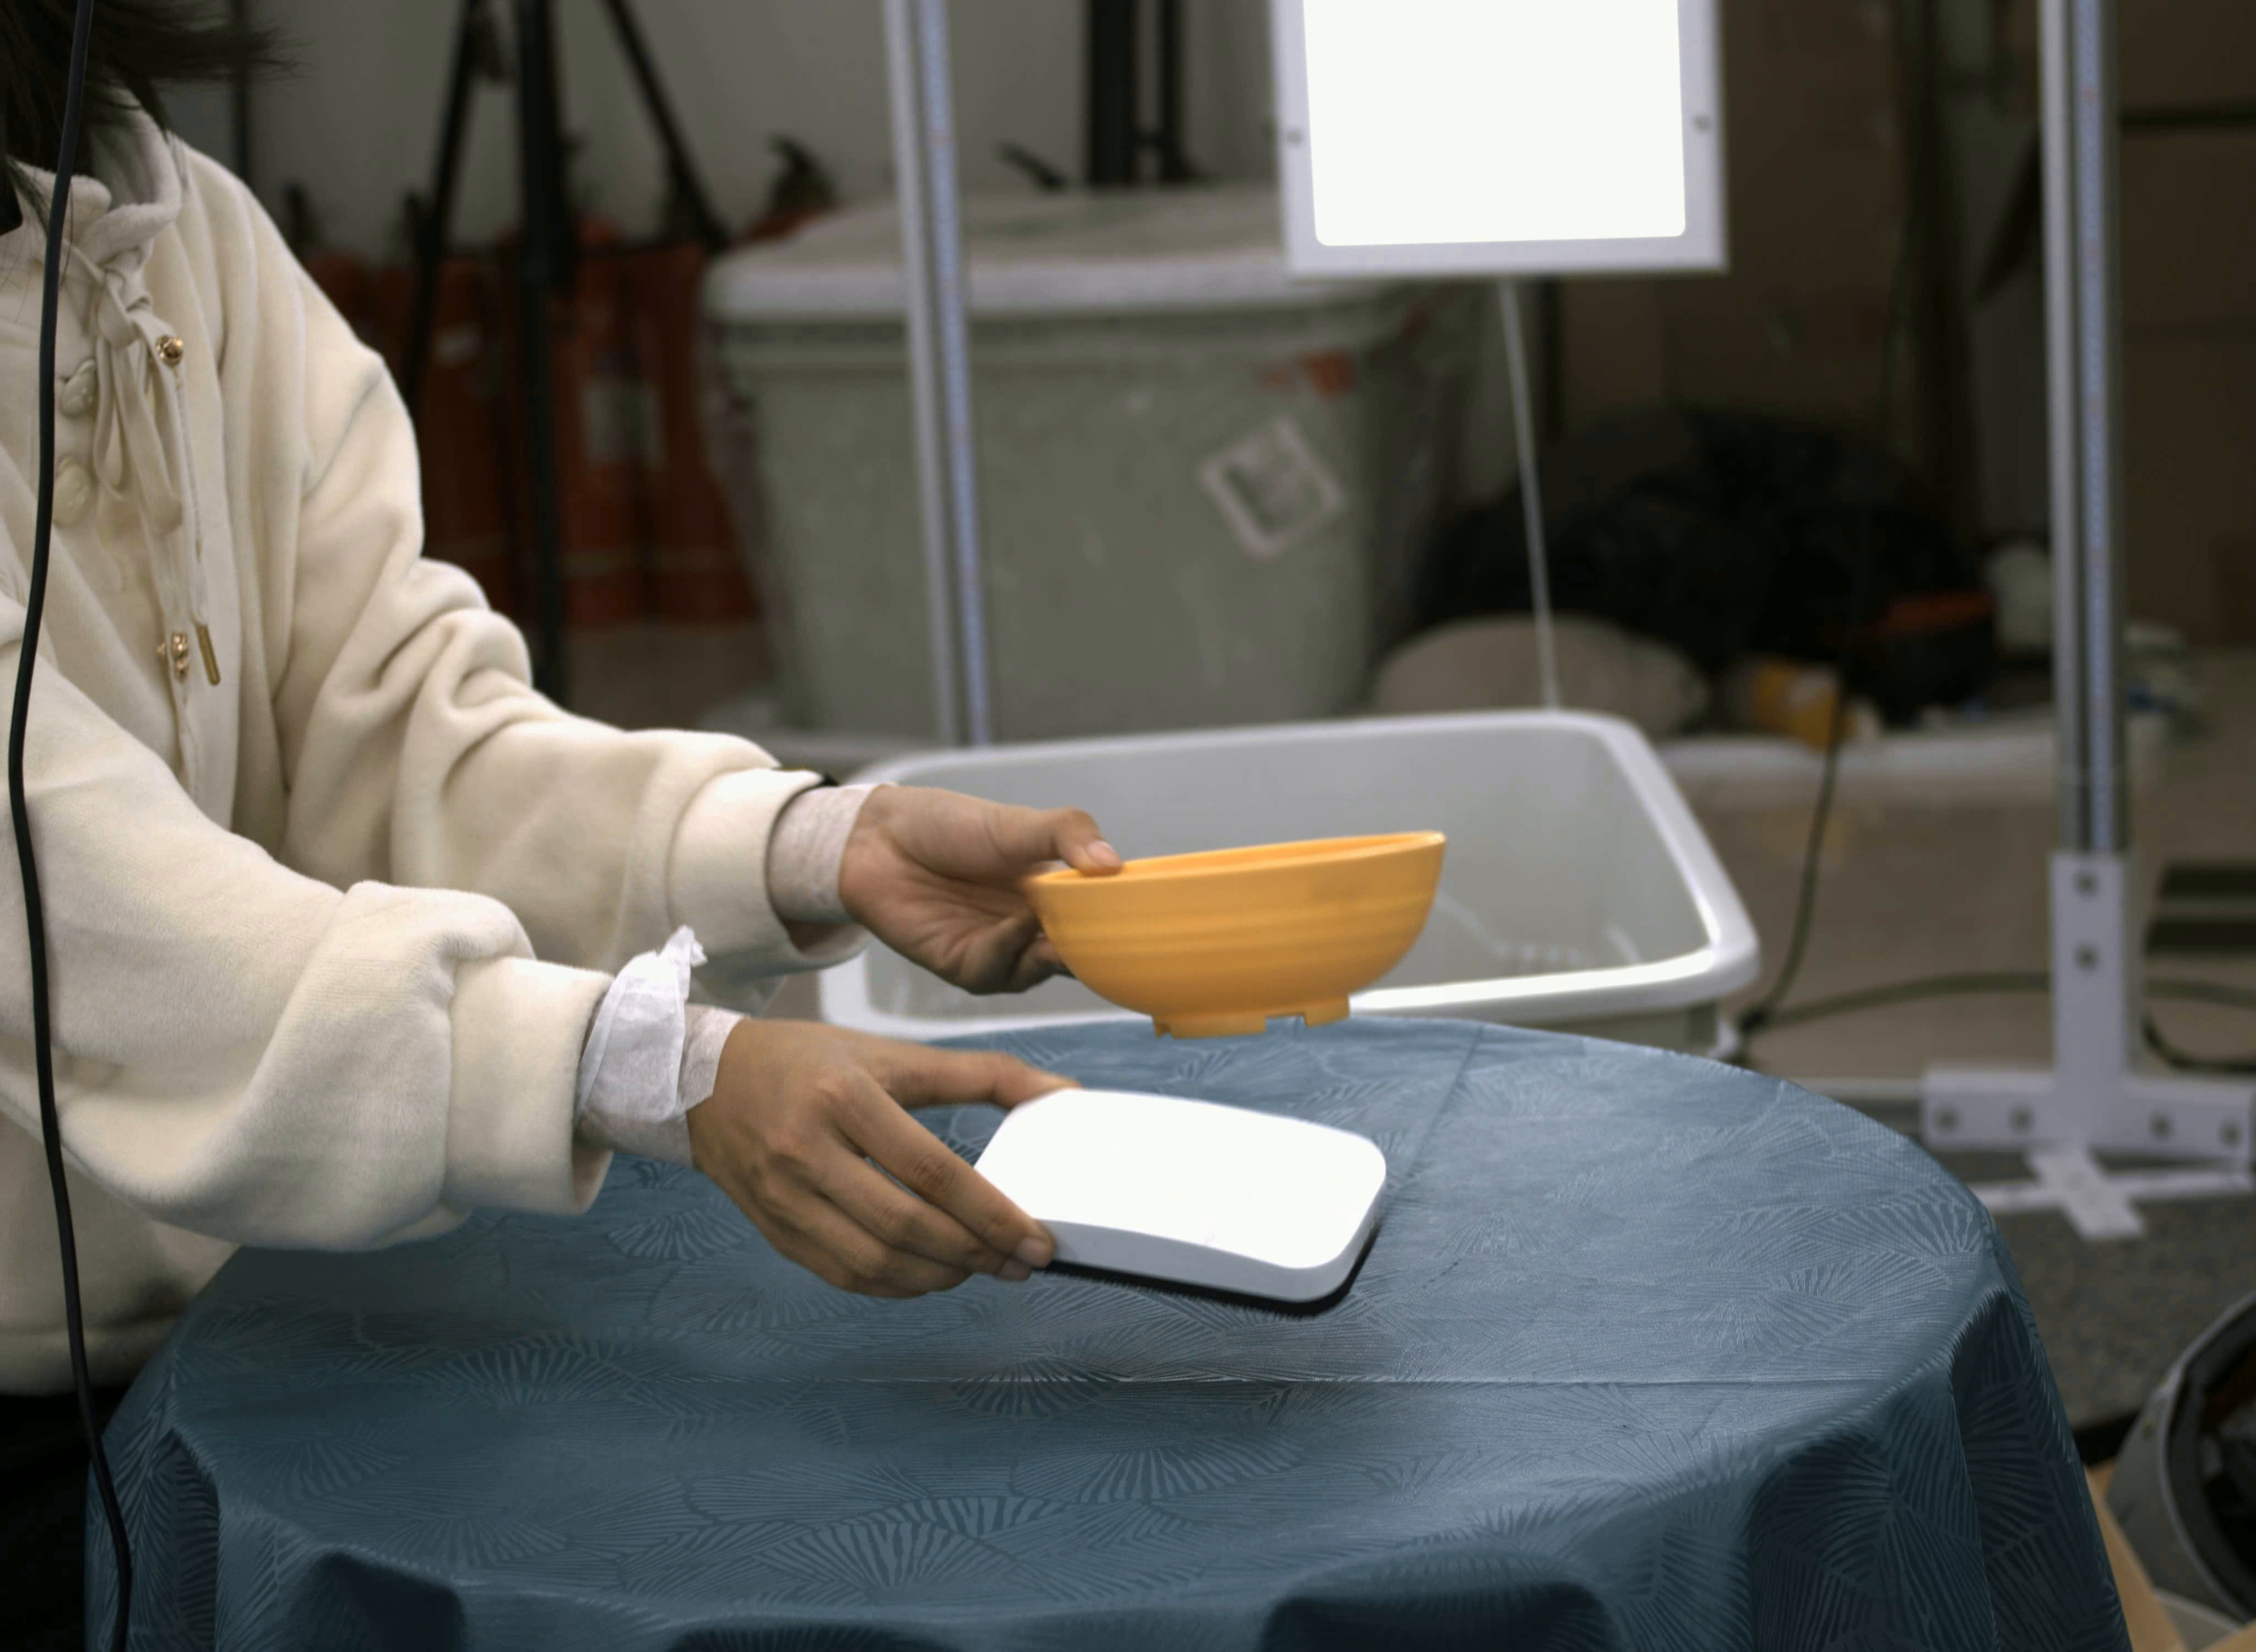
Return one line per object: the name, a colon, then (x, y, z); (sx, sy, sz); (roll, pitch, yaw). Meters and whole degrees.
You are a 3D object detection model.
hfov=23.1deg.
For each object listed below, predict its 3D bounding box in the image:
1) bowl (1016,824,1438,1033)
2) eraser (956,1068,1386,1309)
bowl: (0.036, 0.036, 1.855); (0.145, 0.060, 0.145); (-6, 3, -1)
eraser: (0.014, 0.111, 1.699); (0.133, 0.034, 0.062); (8, 44, 27)
